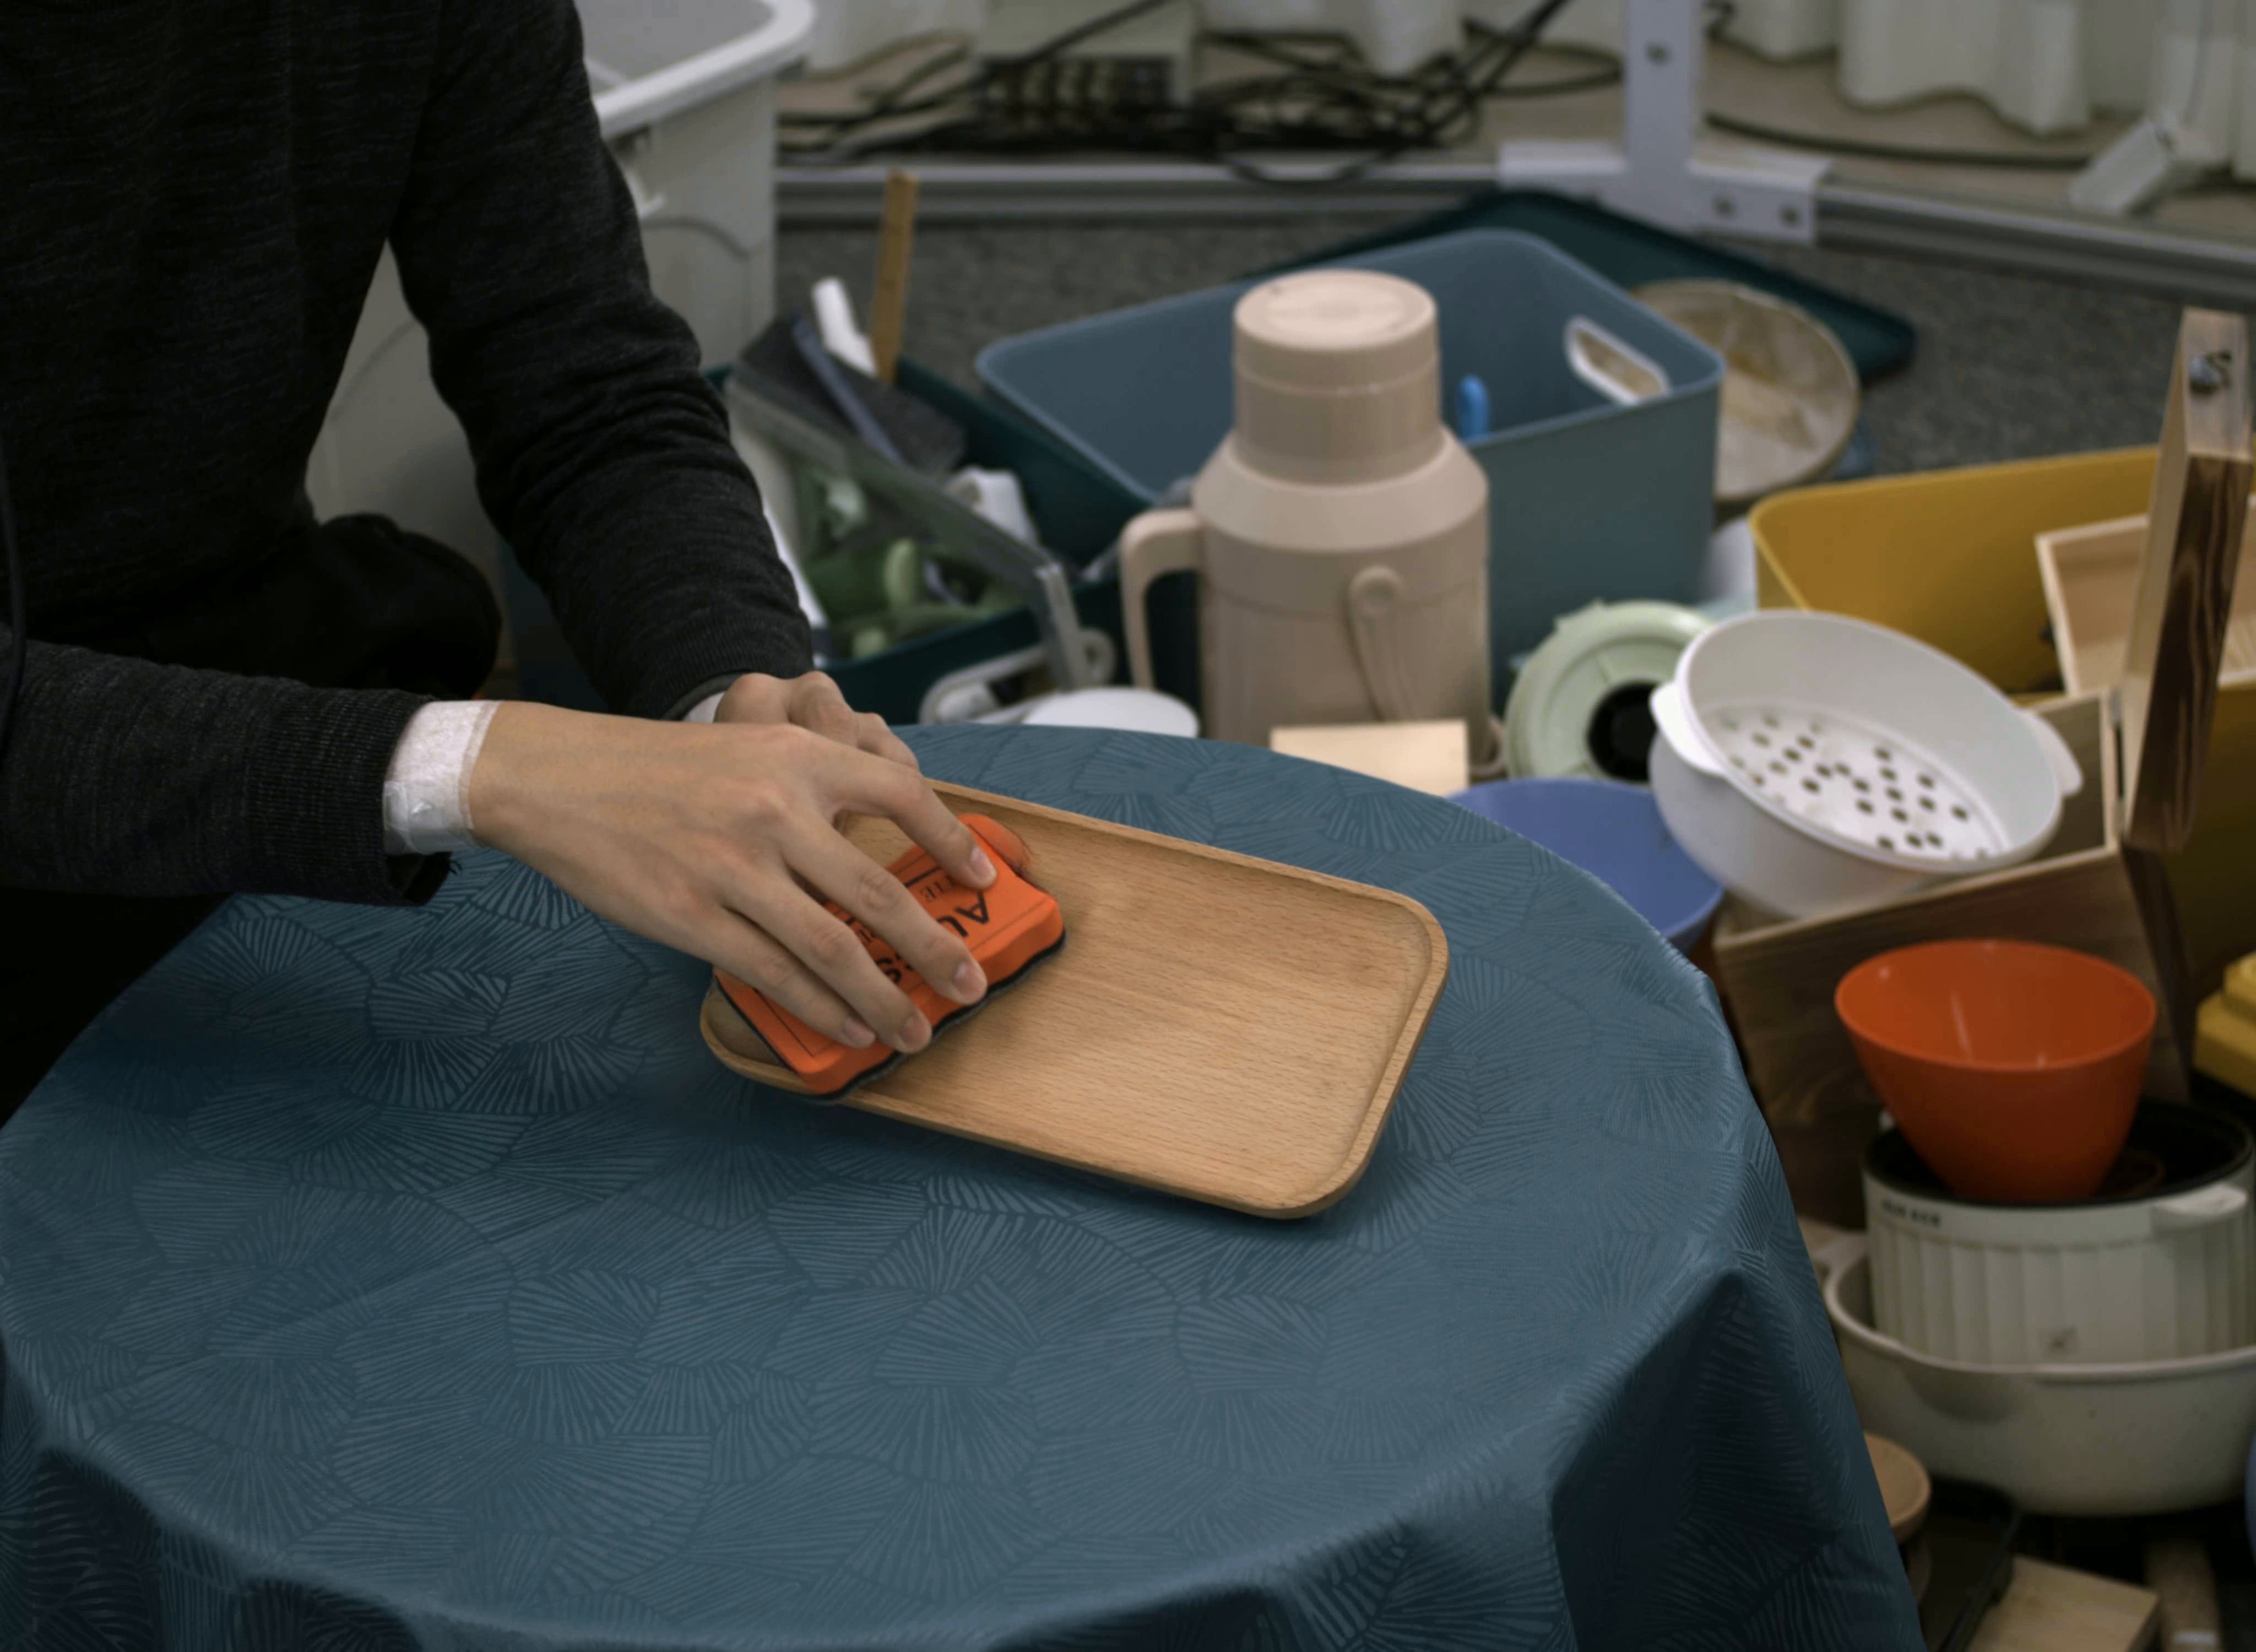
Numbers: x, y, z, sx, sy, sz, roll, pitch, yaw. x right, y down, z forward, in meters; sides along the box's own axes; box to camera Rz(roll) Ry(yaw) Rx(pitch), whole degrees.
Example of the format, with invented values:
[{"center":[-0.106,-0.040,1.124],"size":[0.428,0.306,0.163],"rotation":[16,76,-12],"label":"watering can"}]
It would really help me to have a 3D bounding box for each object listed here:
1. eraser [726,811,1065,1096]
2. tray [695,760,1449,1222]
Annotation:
[{"center":[-0.079,0.043,1.909],"size":[0.108,0.022,0.059],"rotation":[-33,50,-14],"label":"eraser"},{"center":[-0.020,0.055,1.903],"size":[0.249,0.022,0.133],"rotation":[14,58,23],"label":"tray"}]
